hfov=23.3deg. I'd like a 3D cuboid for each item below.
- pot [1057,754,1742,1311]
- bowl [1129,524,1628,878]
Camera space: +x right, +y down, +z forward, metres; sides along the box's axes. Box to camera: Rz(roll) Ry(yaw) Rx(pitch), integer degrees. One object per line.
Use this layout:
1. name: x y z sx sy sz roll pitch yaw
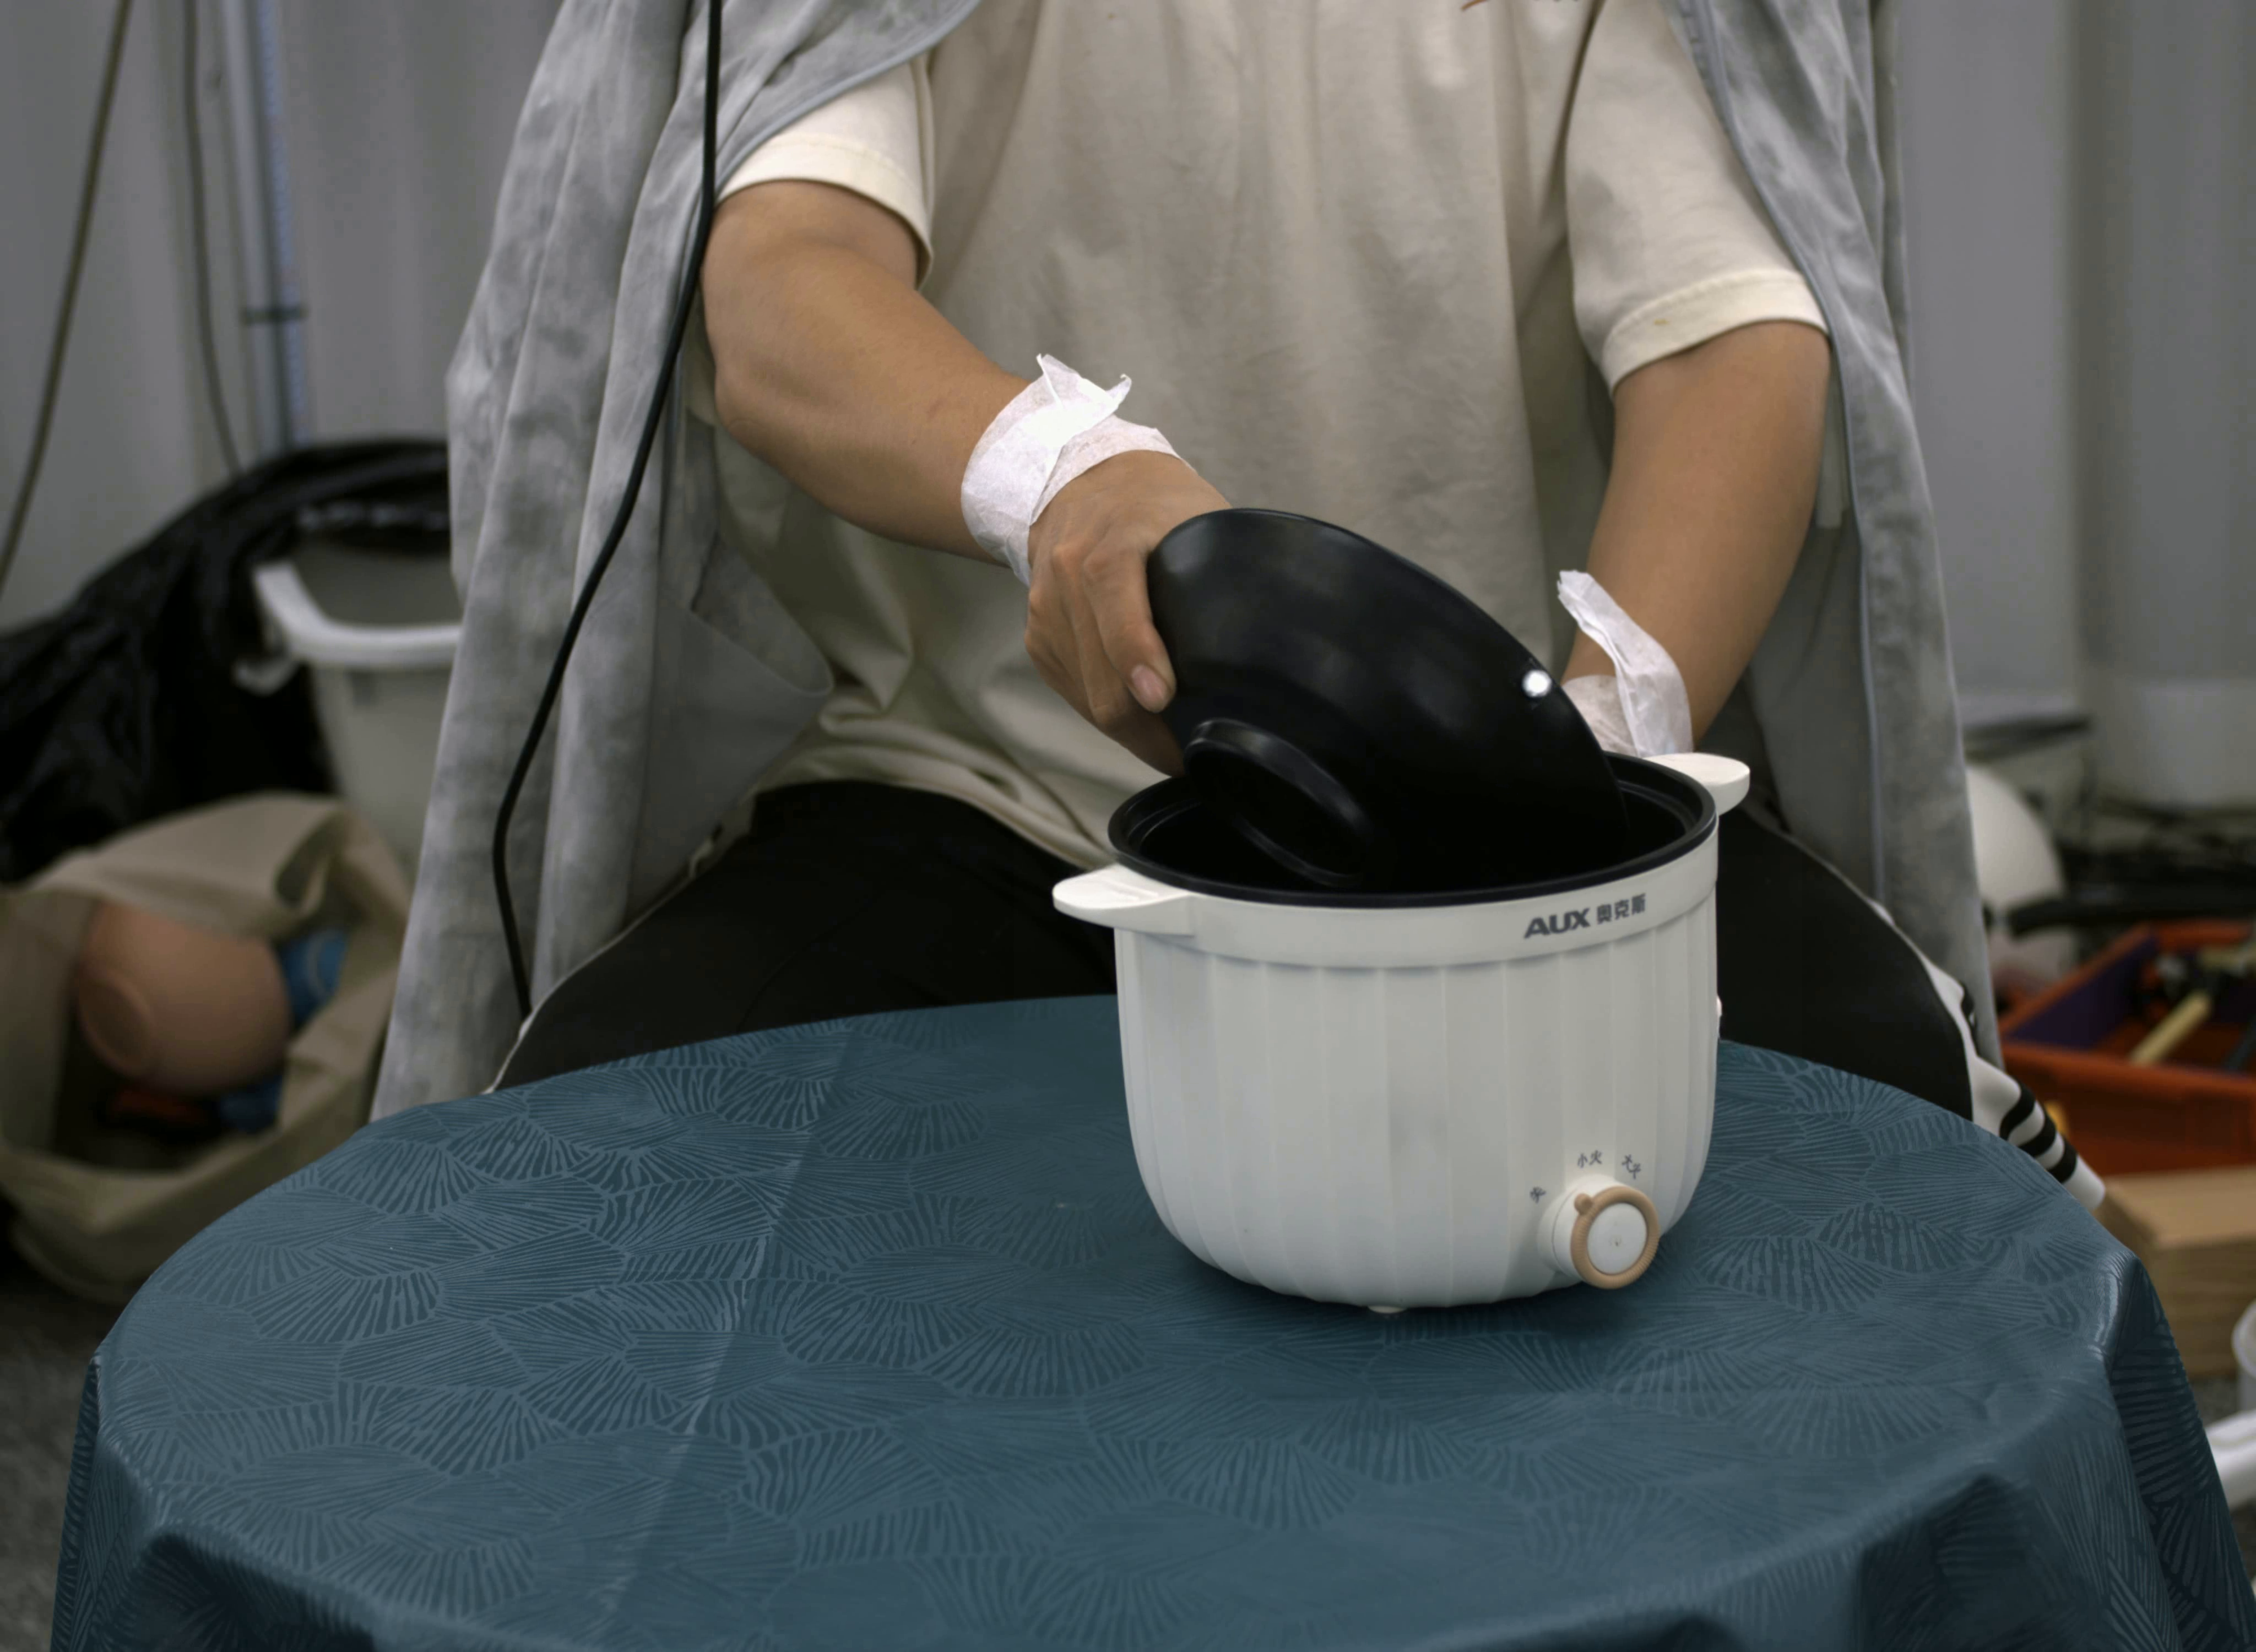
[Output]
1. pot: 0.091 0.061 1.636 0.239 0.142 0.191 -12 14 -30
2. bowl: 0.063 -0.022 1.623 0.171 0.135 0.067 29 69 21
